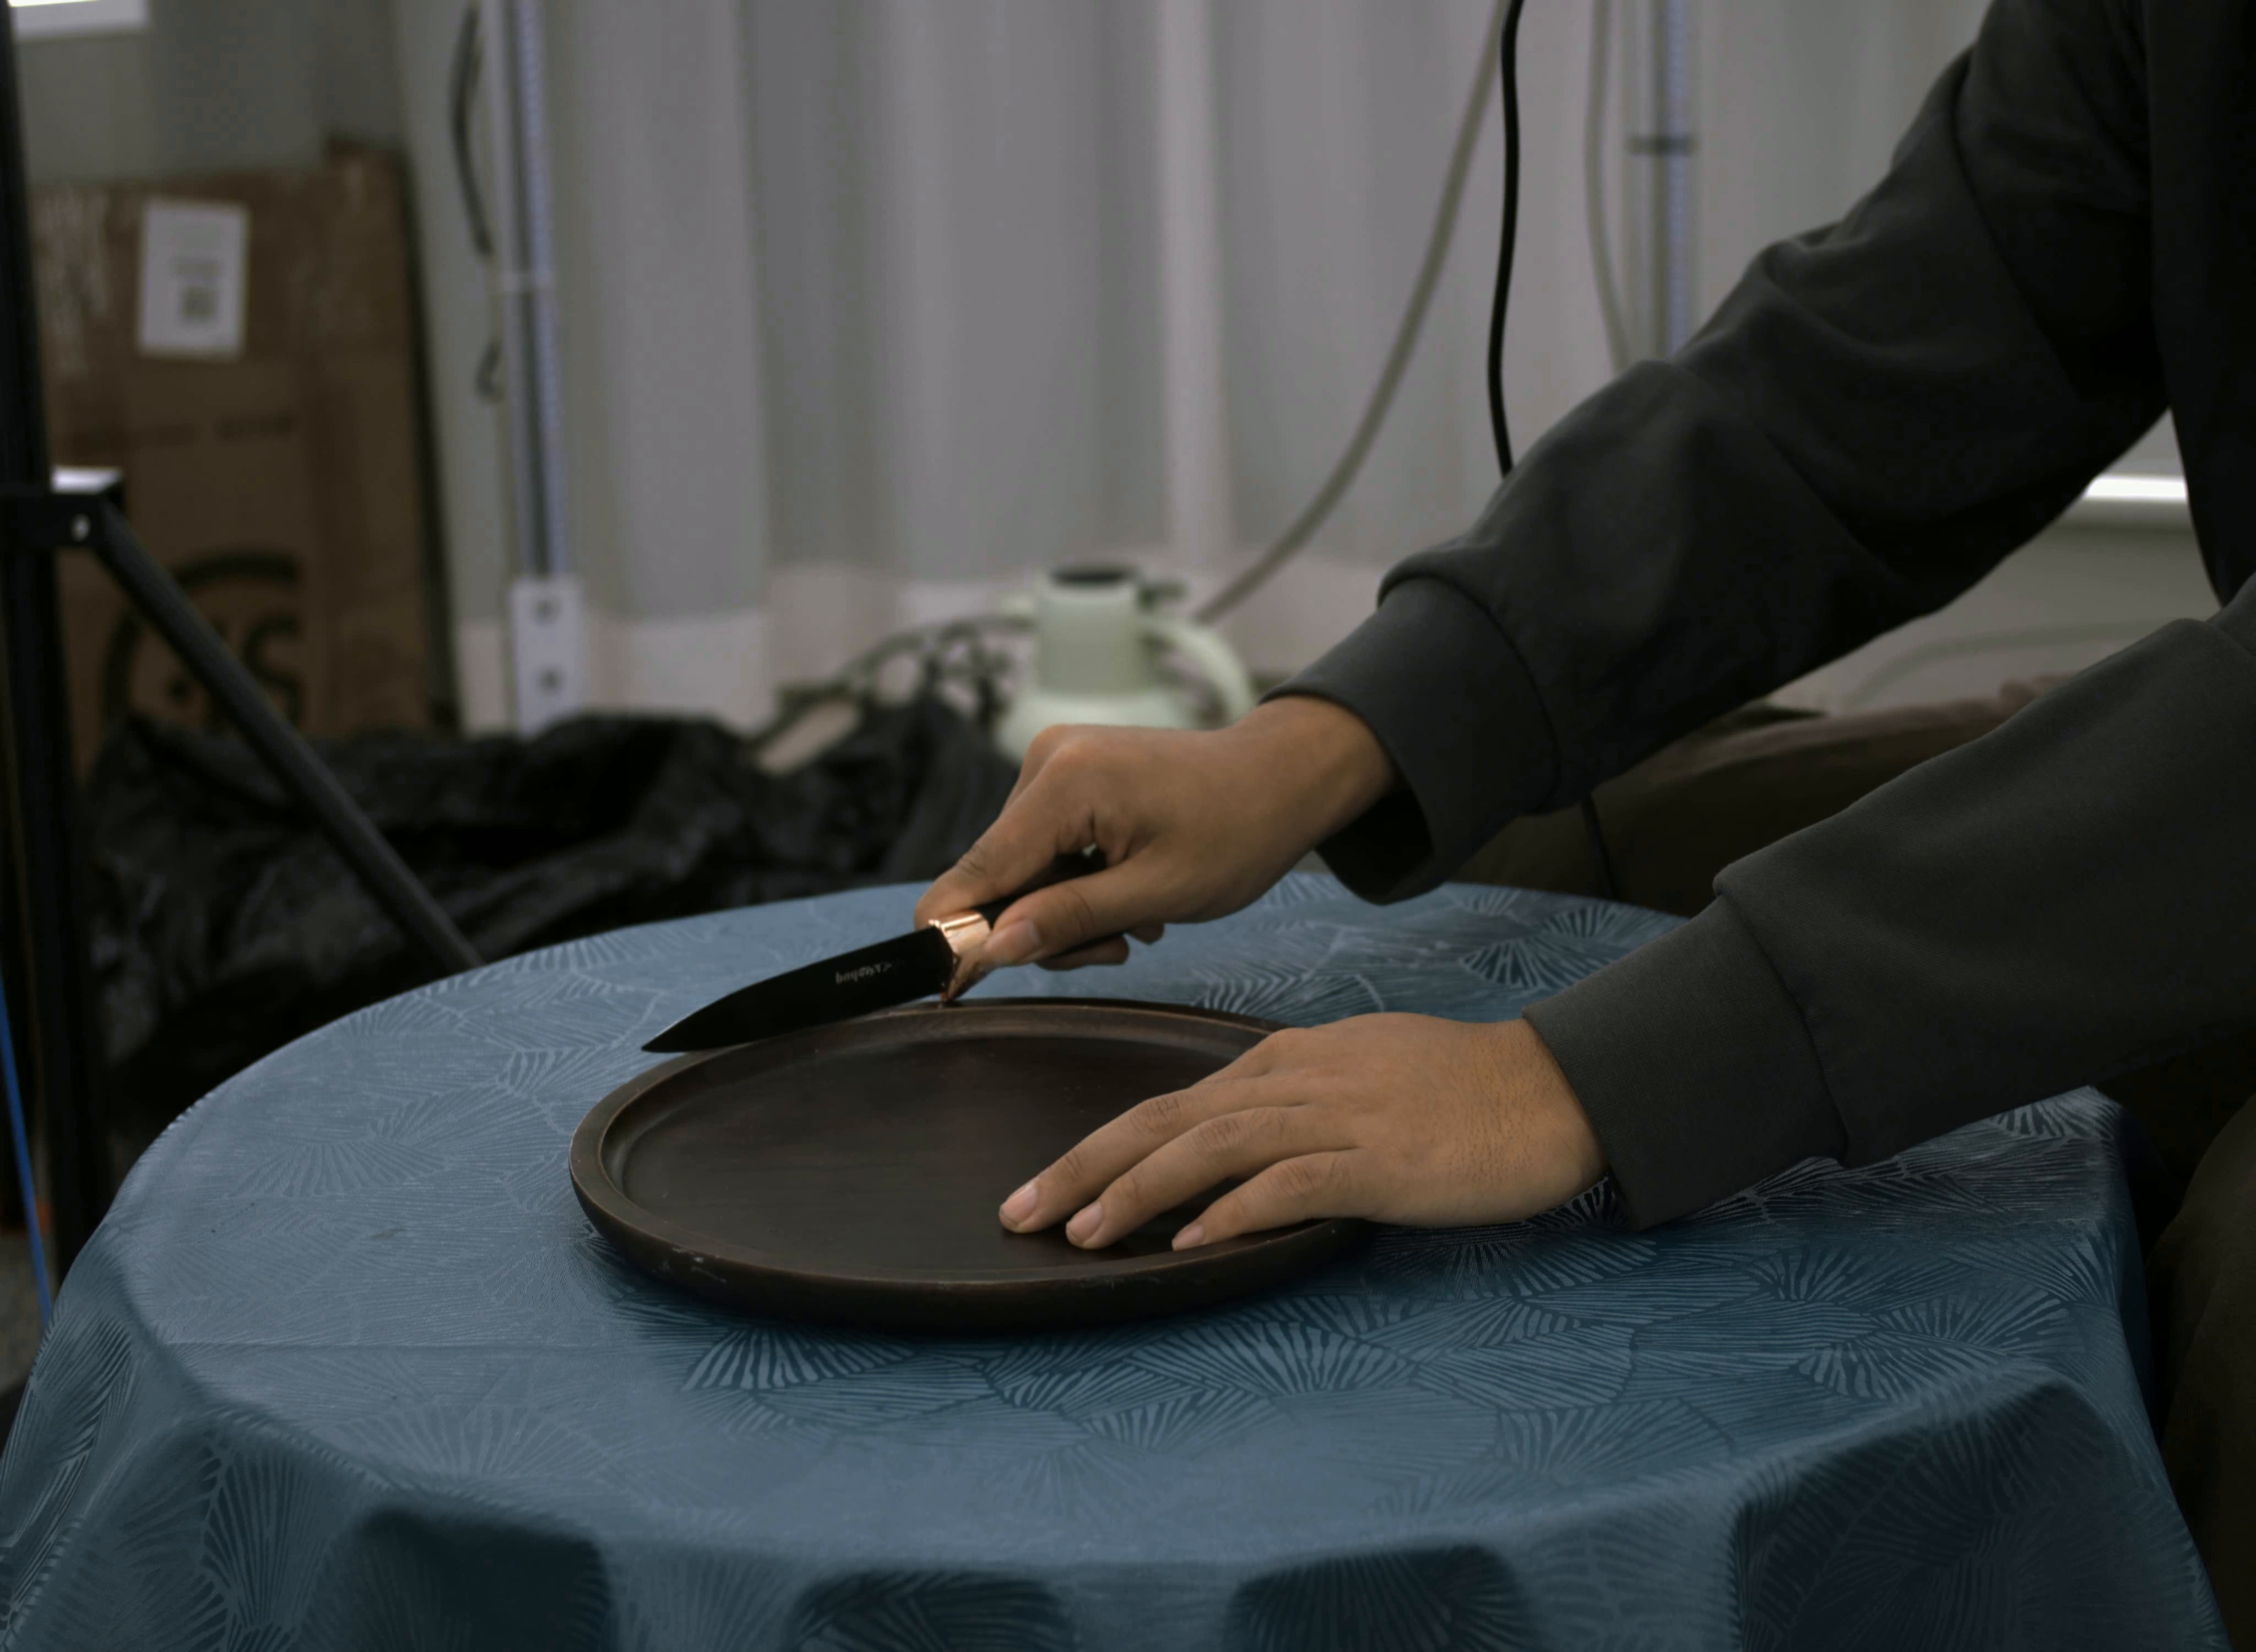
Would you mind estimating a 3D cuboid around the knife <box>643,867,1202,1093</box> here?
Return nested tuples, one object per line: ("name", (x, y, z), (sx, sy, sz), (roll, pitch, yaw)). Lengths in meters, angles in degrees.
("knife", (-0.061, 0.047, 1.668), (0.220, 0.026, 0.017), (-17, 11, -37))

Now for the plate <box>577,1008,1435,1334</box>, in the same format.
("plate", (-0.035, 0.098, 1.555), (0.253, 0.029, 0.256), (-2, 14, -1))
